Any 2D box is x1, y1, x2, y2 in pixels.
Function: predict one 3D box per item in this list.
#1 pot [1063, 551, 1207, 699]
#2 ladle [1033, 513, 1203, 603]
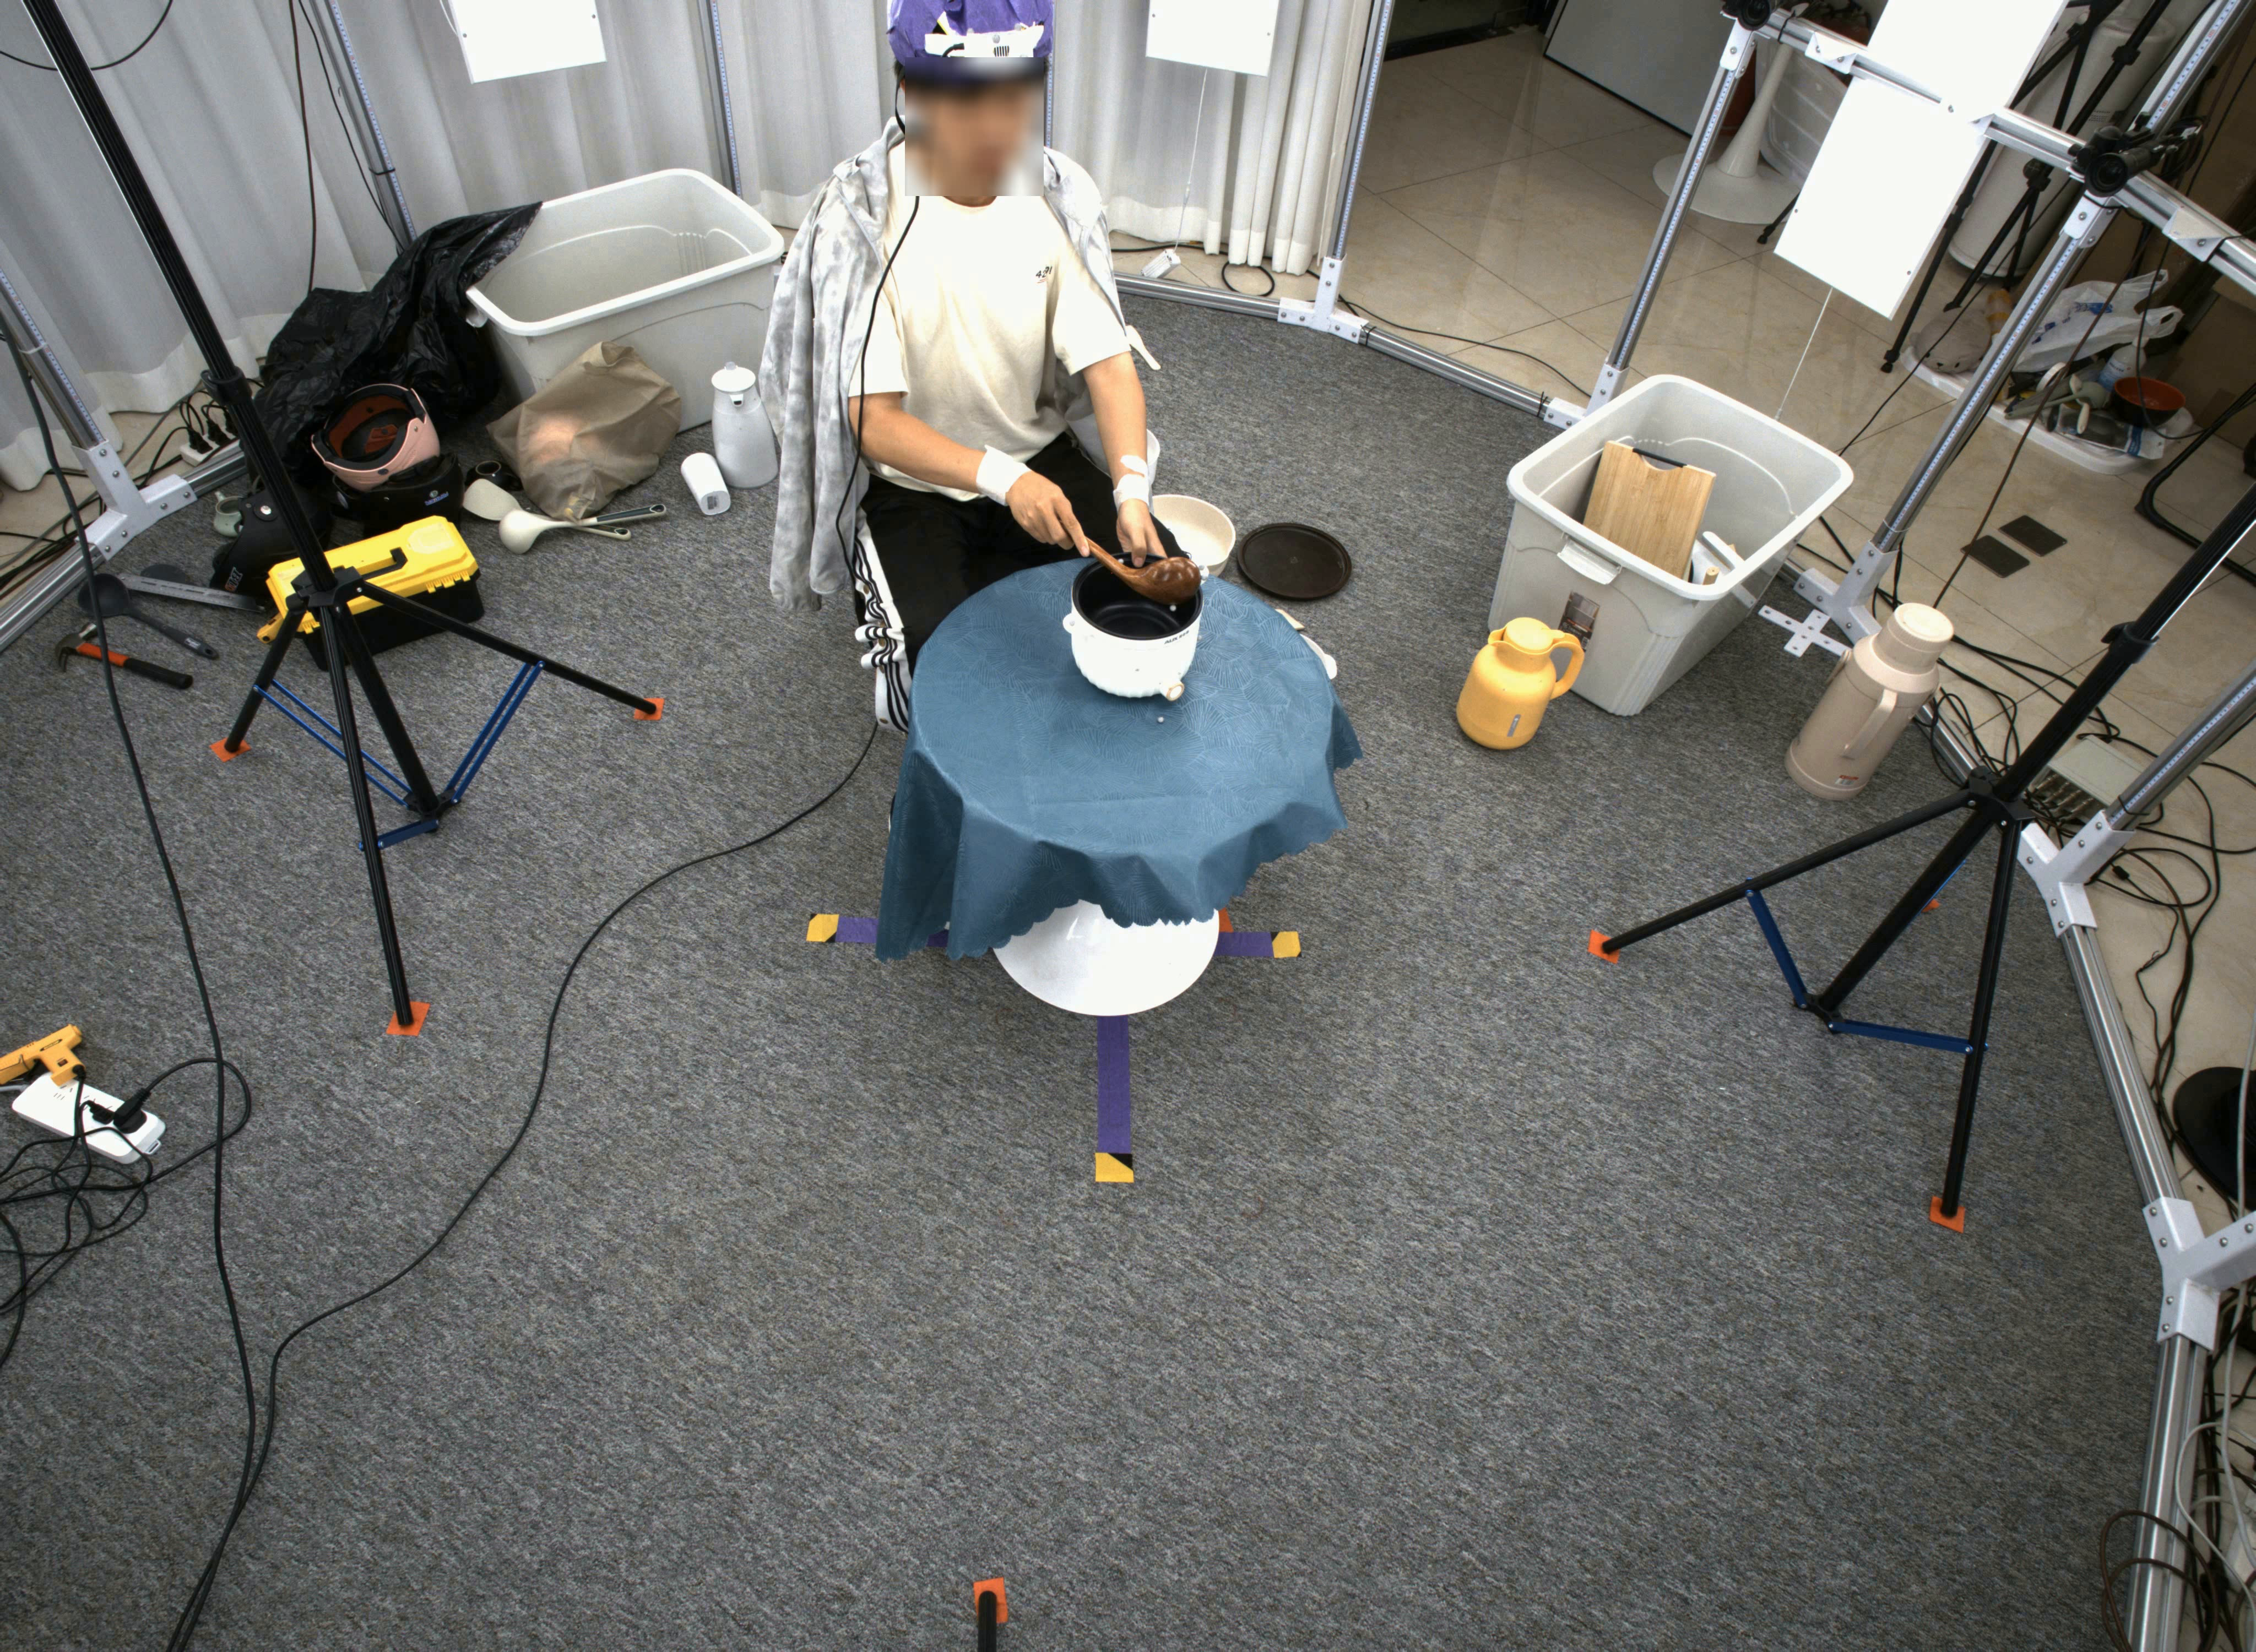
[{"bbox_3d":[0.014,-0.275,1.811,0.242,0.139,0.194,-29,53,-24],"label":"pot"},{"bbox_3d":[-0.014,-0.388,1.783,0.077,0.080,0.278,-40,58,-21],"label":"ladle"}]
